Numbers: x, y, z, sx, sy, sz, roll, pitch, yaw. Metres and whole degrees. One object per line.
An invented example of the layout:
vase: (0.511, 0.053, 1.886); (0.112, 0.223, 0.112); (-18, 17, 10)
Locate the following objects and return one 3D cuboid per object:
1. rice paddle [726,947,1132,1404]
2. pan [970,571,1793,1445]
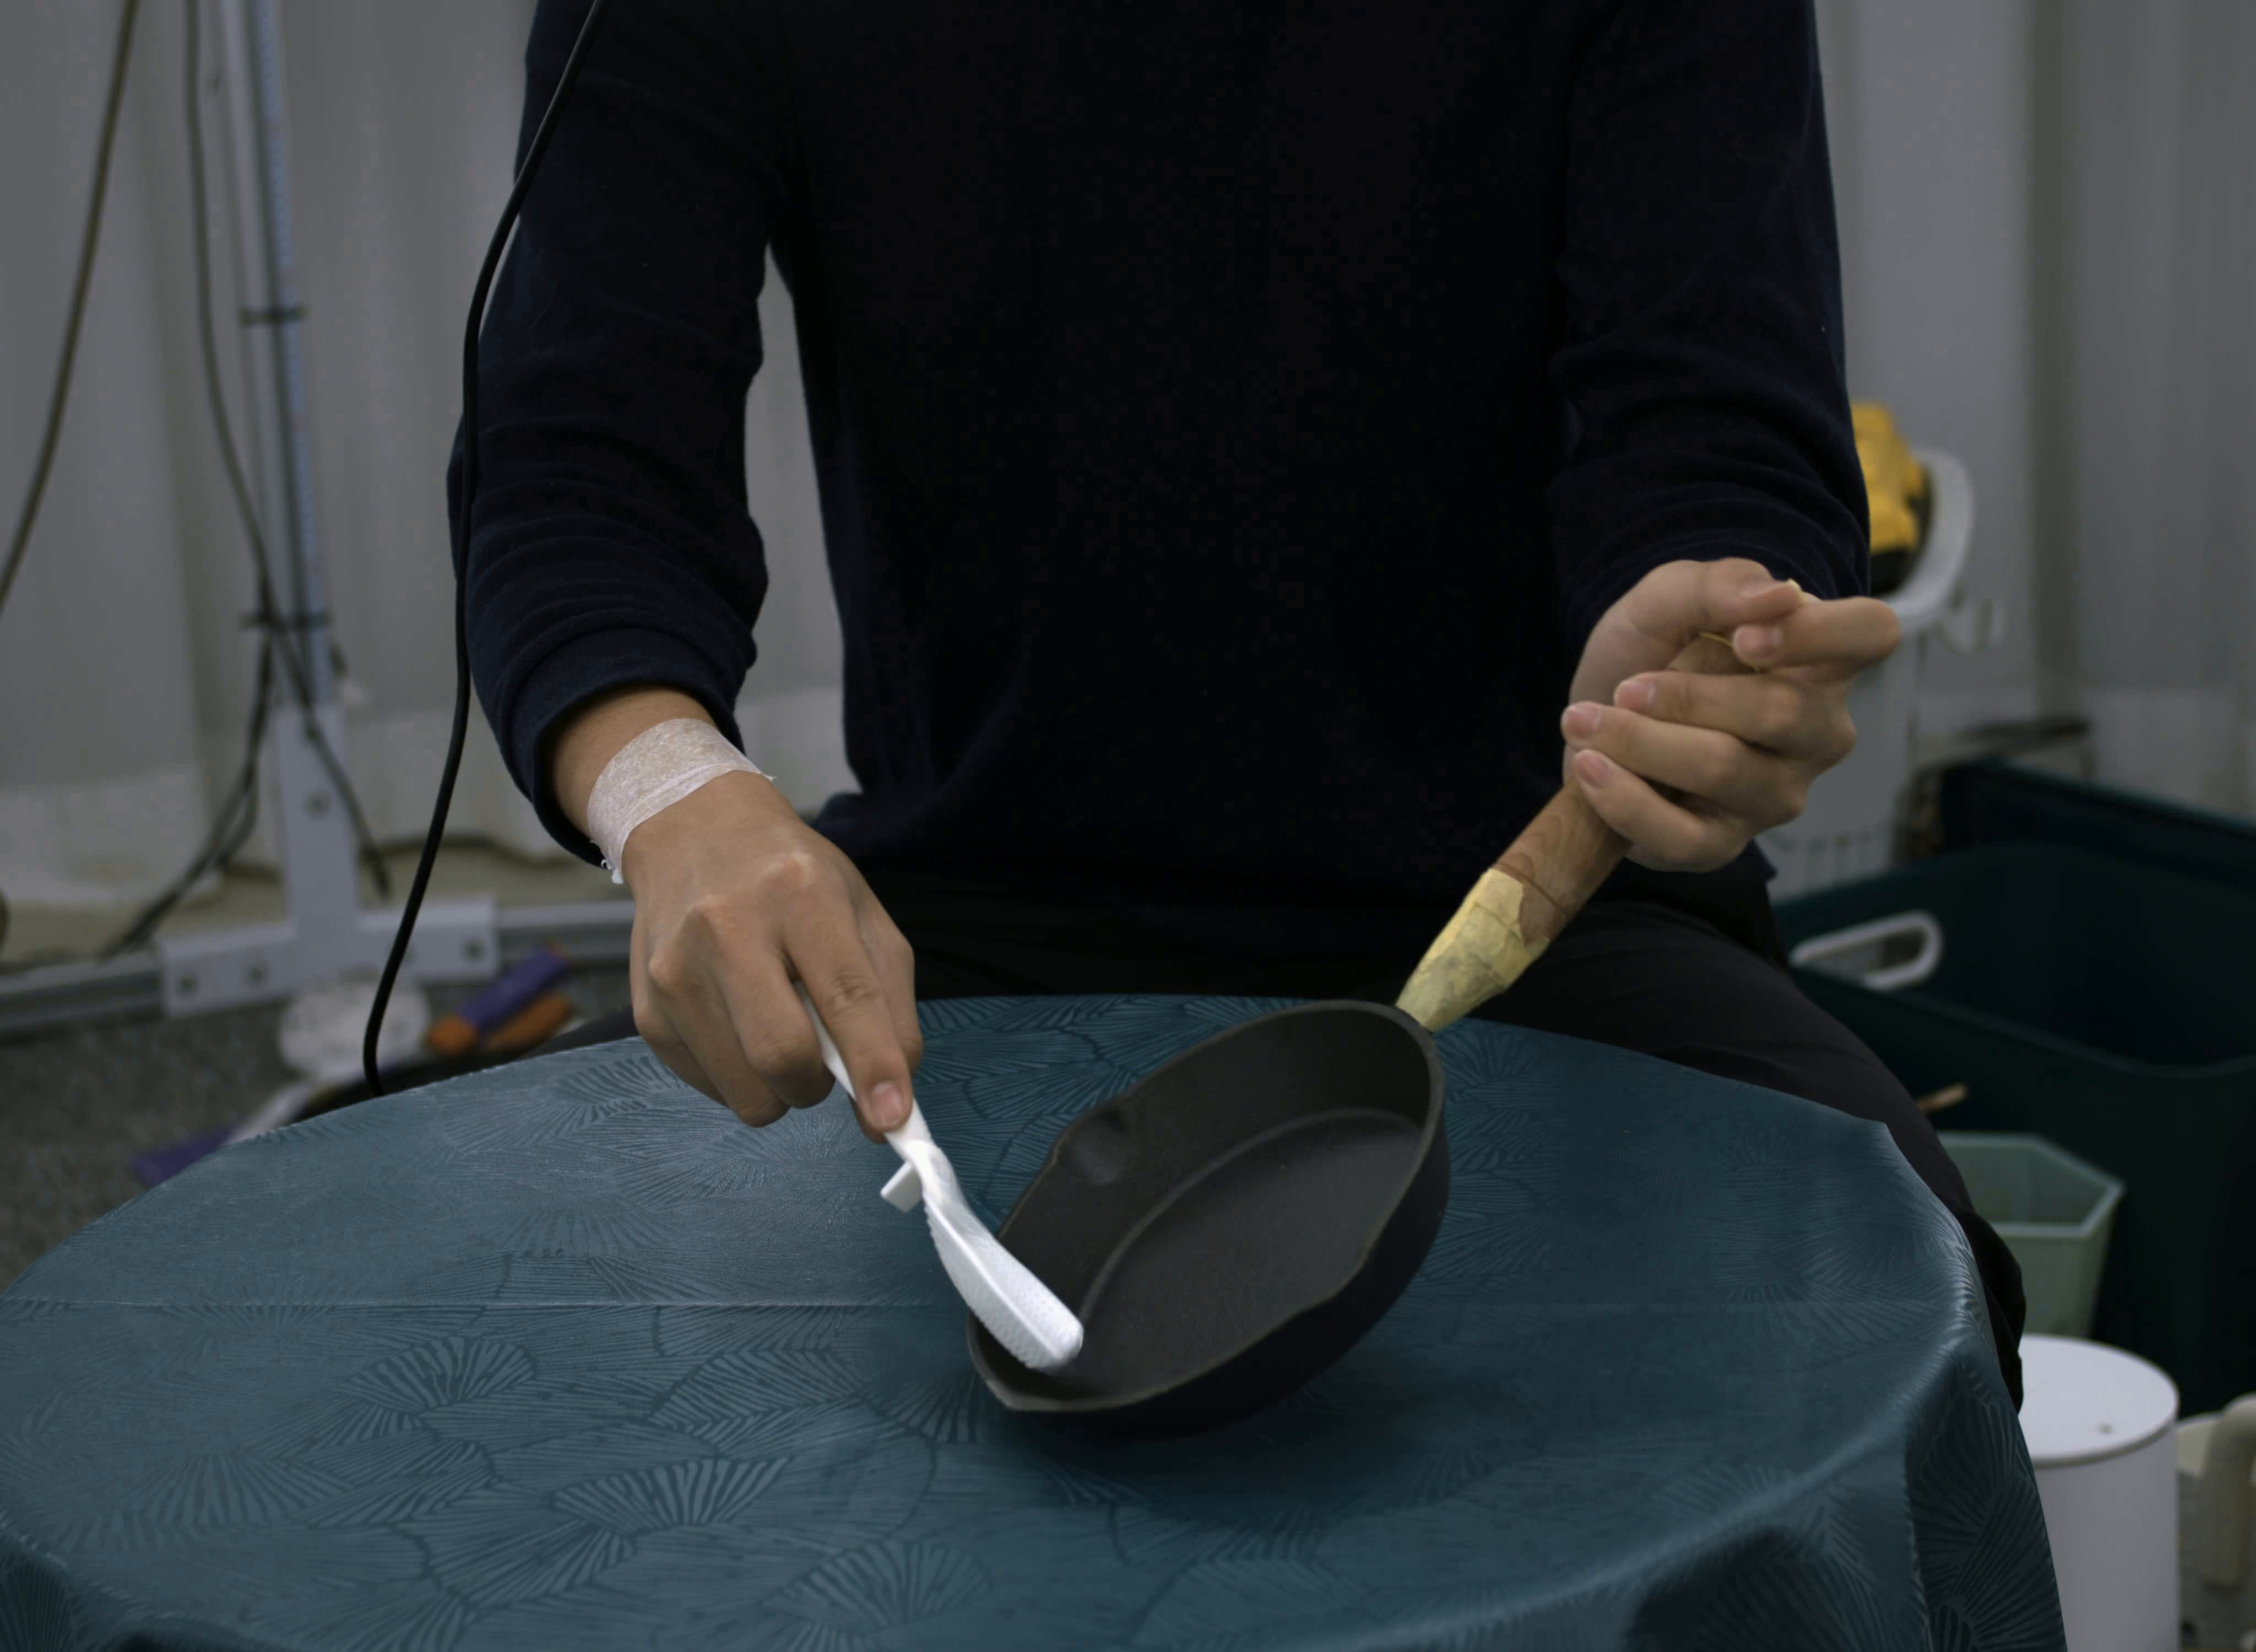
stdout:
rice paddle: (-0.053, 0.102, 1.552); (0.068, 0.029, 0.208); (39, 5, -46)
pan: (0.085, 0.052, 1.541); (0.325, 0.049, 0.170); (-44, 27, -10)
